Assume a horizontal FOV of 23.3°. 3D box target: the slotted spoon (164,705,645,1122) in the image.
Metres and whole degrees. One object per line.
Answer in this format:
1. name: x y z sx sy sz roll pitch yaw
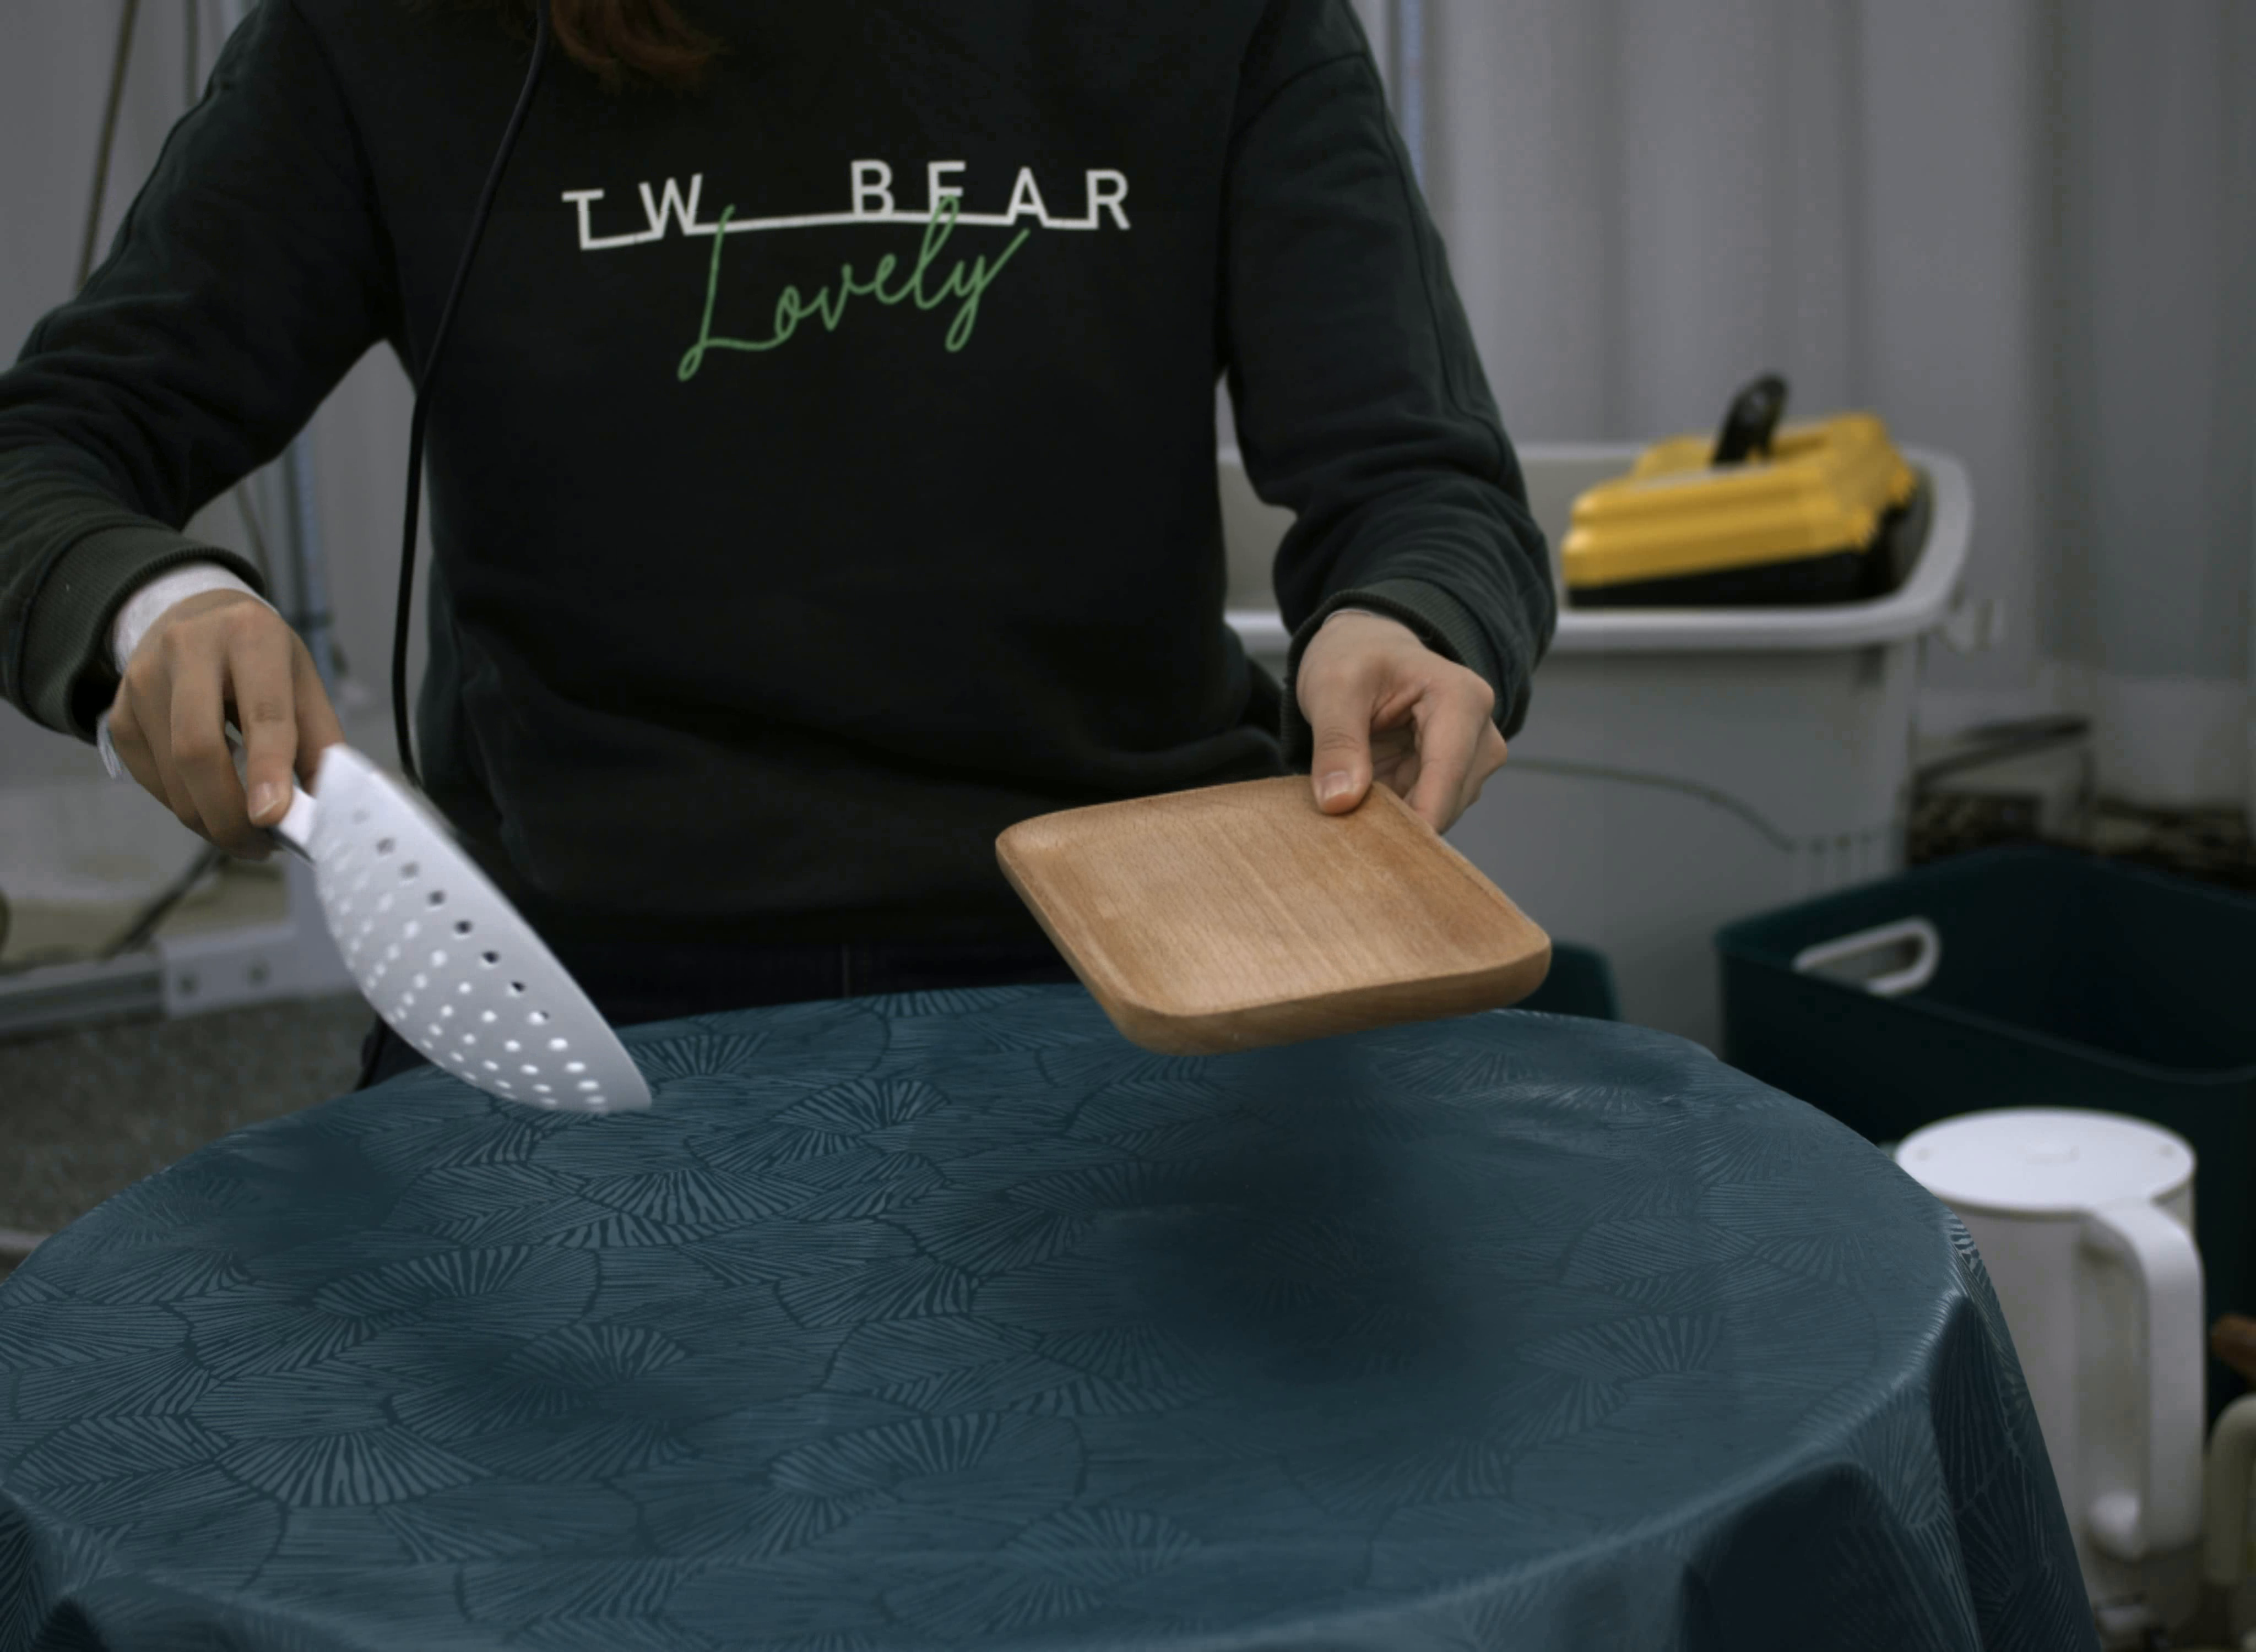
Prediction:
1. slotted spoon: -0.230 0.009 1.643 0.046 0.135 0.353 -33 24 -11

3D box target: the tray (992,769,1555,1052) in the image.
1. tray: 0.039 0.023 1.628 0.130 0.023 0.252 -7 13 -9
